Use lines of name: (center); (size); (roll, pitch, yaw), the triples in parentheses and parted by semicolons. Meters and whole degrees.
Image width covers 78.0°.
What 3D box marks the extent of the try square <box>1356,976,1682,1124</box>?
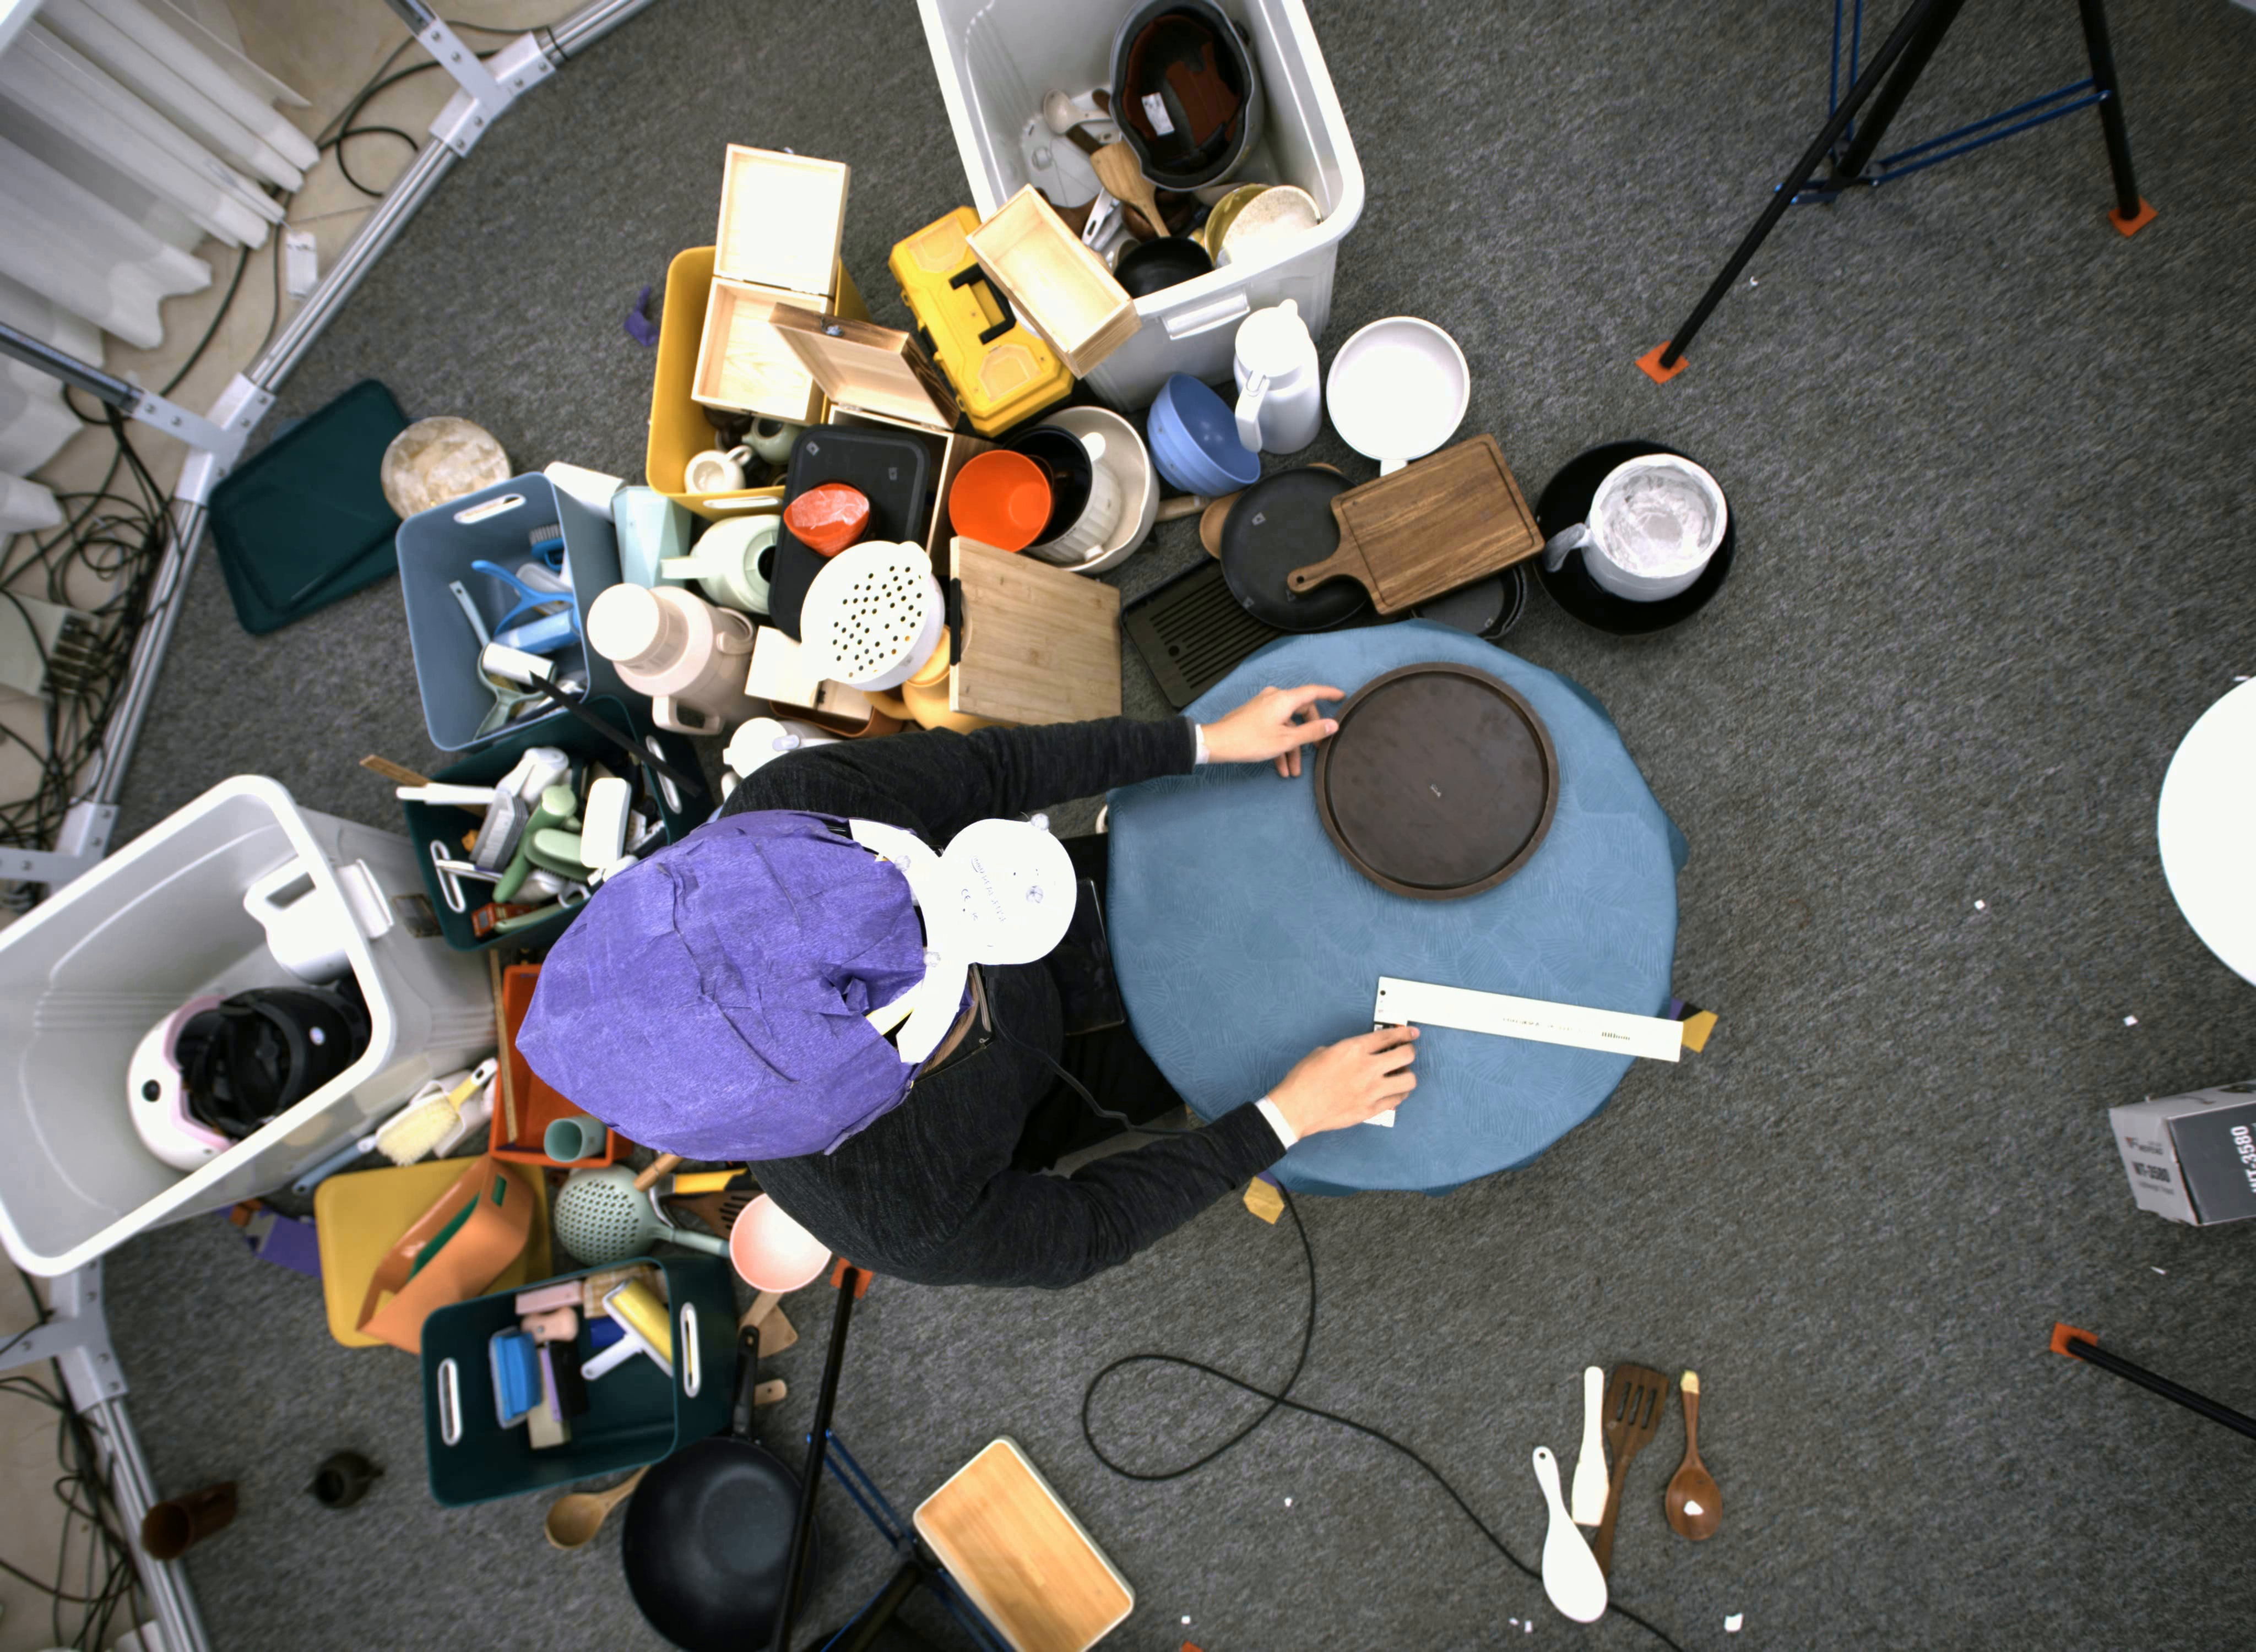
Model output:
try square: (0.401, 0.250, 1.423); (0.313, 0.016, 0.152); (8, 89, 10)

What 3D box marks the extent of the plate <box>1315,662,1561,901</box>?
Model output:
plate: (0.324, -0.049, 1.445); (0.256, 0.029, 0.254); (-1, 87, 9)
